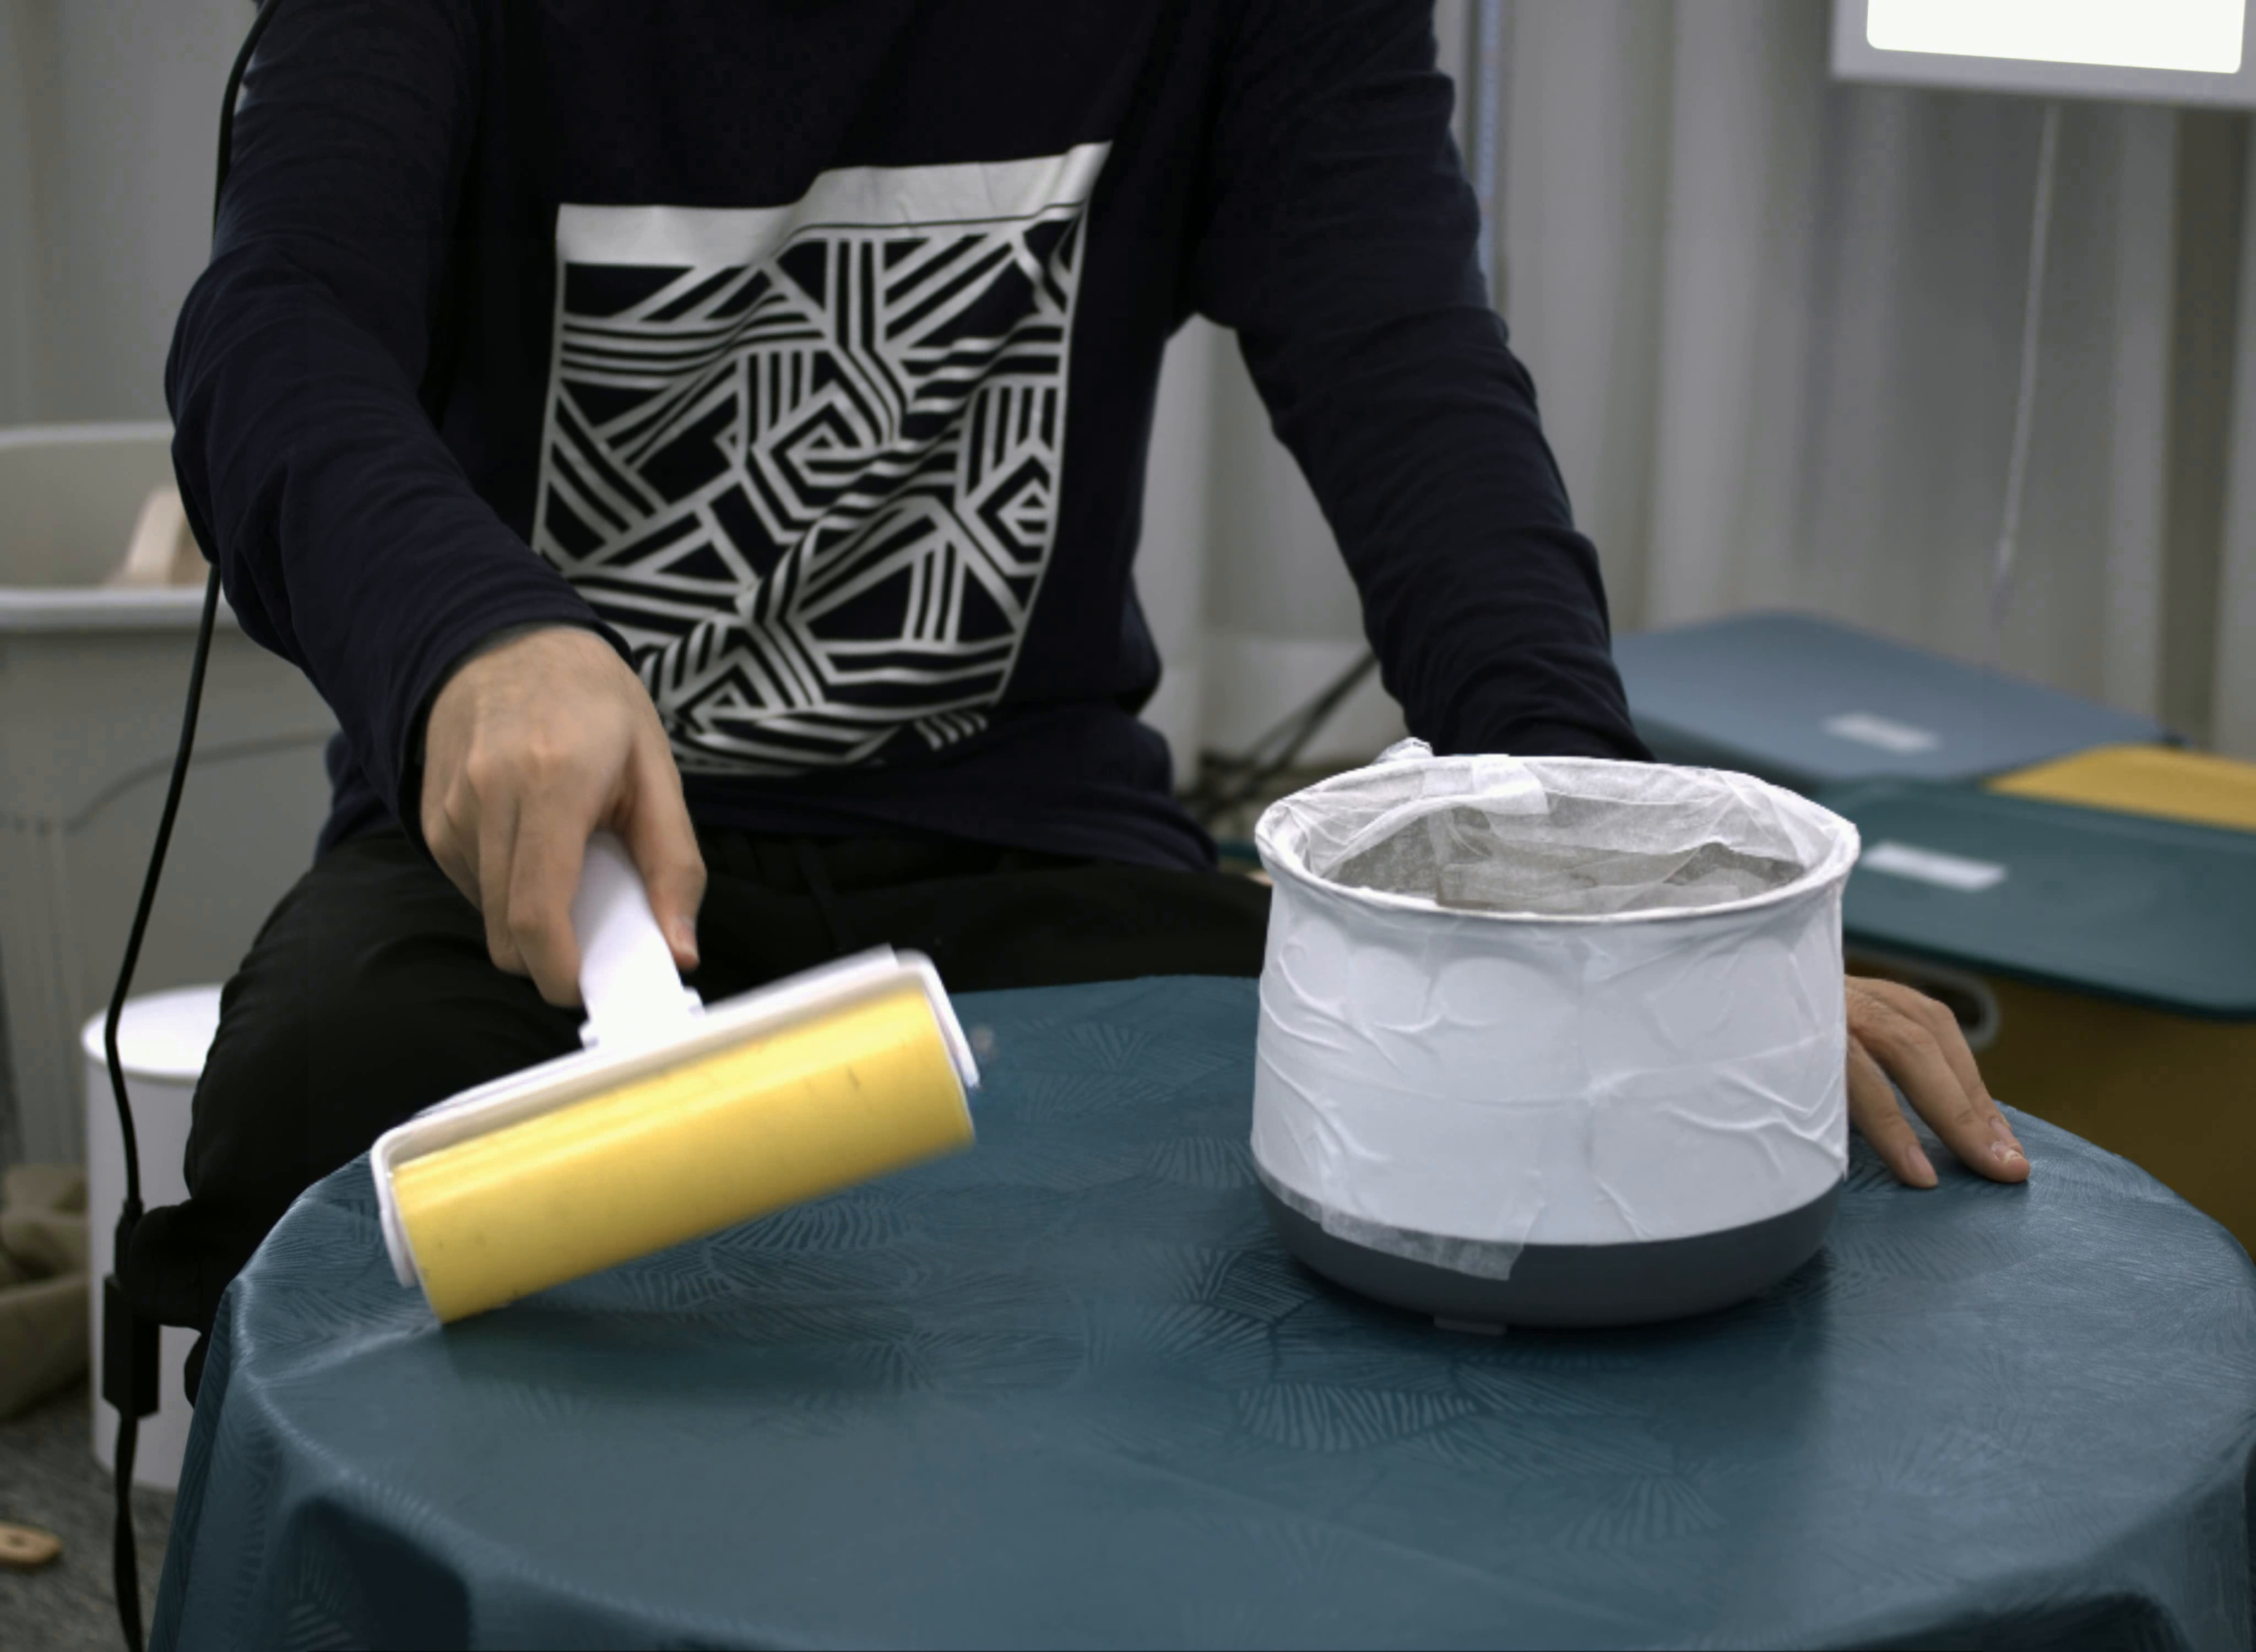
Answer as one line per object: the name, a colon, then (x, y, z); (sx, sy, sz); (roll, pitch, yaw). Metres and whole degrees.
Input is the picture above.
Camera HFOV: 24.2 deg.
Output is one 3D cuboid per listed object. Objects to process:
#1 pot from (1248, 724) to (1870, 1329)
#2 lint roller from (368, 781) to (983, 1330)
pot: (0.113, 0.054, 1.574); (0.179, 0.138, 0.231); (-5, 18, -24)
lint roller: (-0.148, 0.046, 1.536); (0.174, 0.052, 0.190); (-17, 53, -9)
